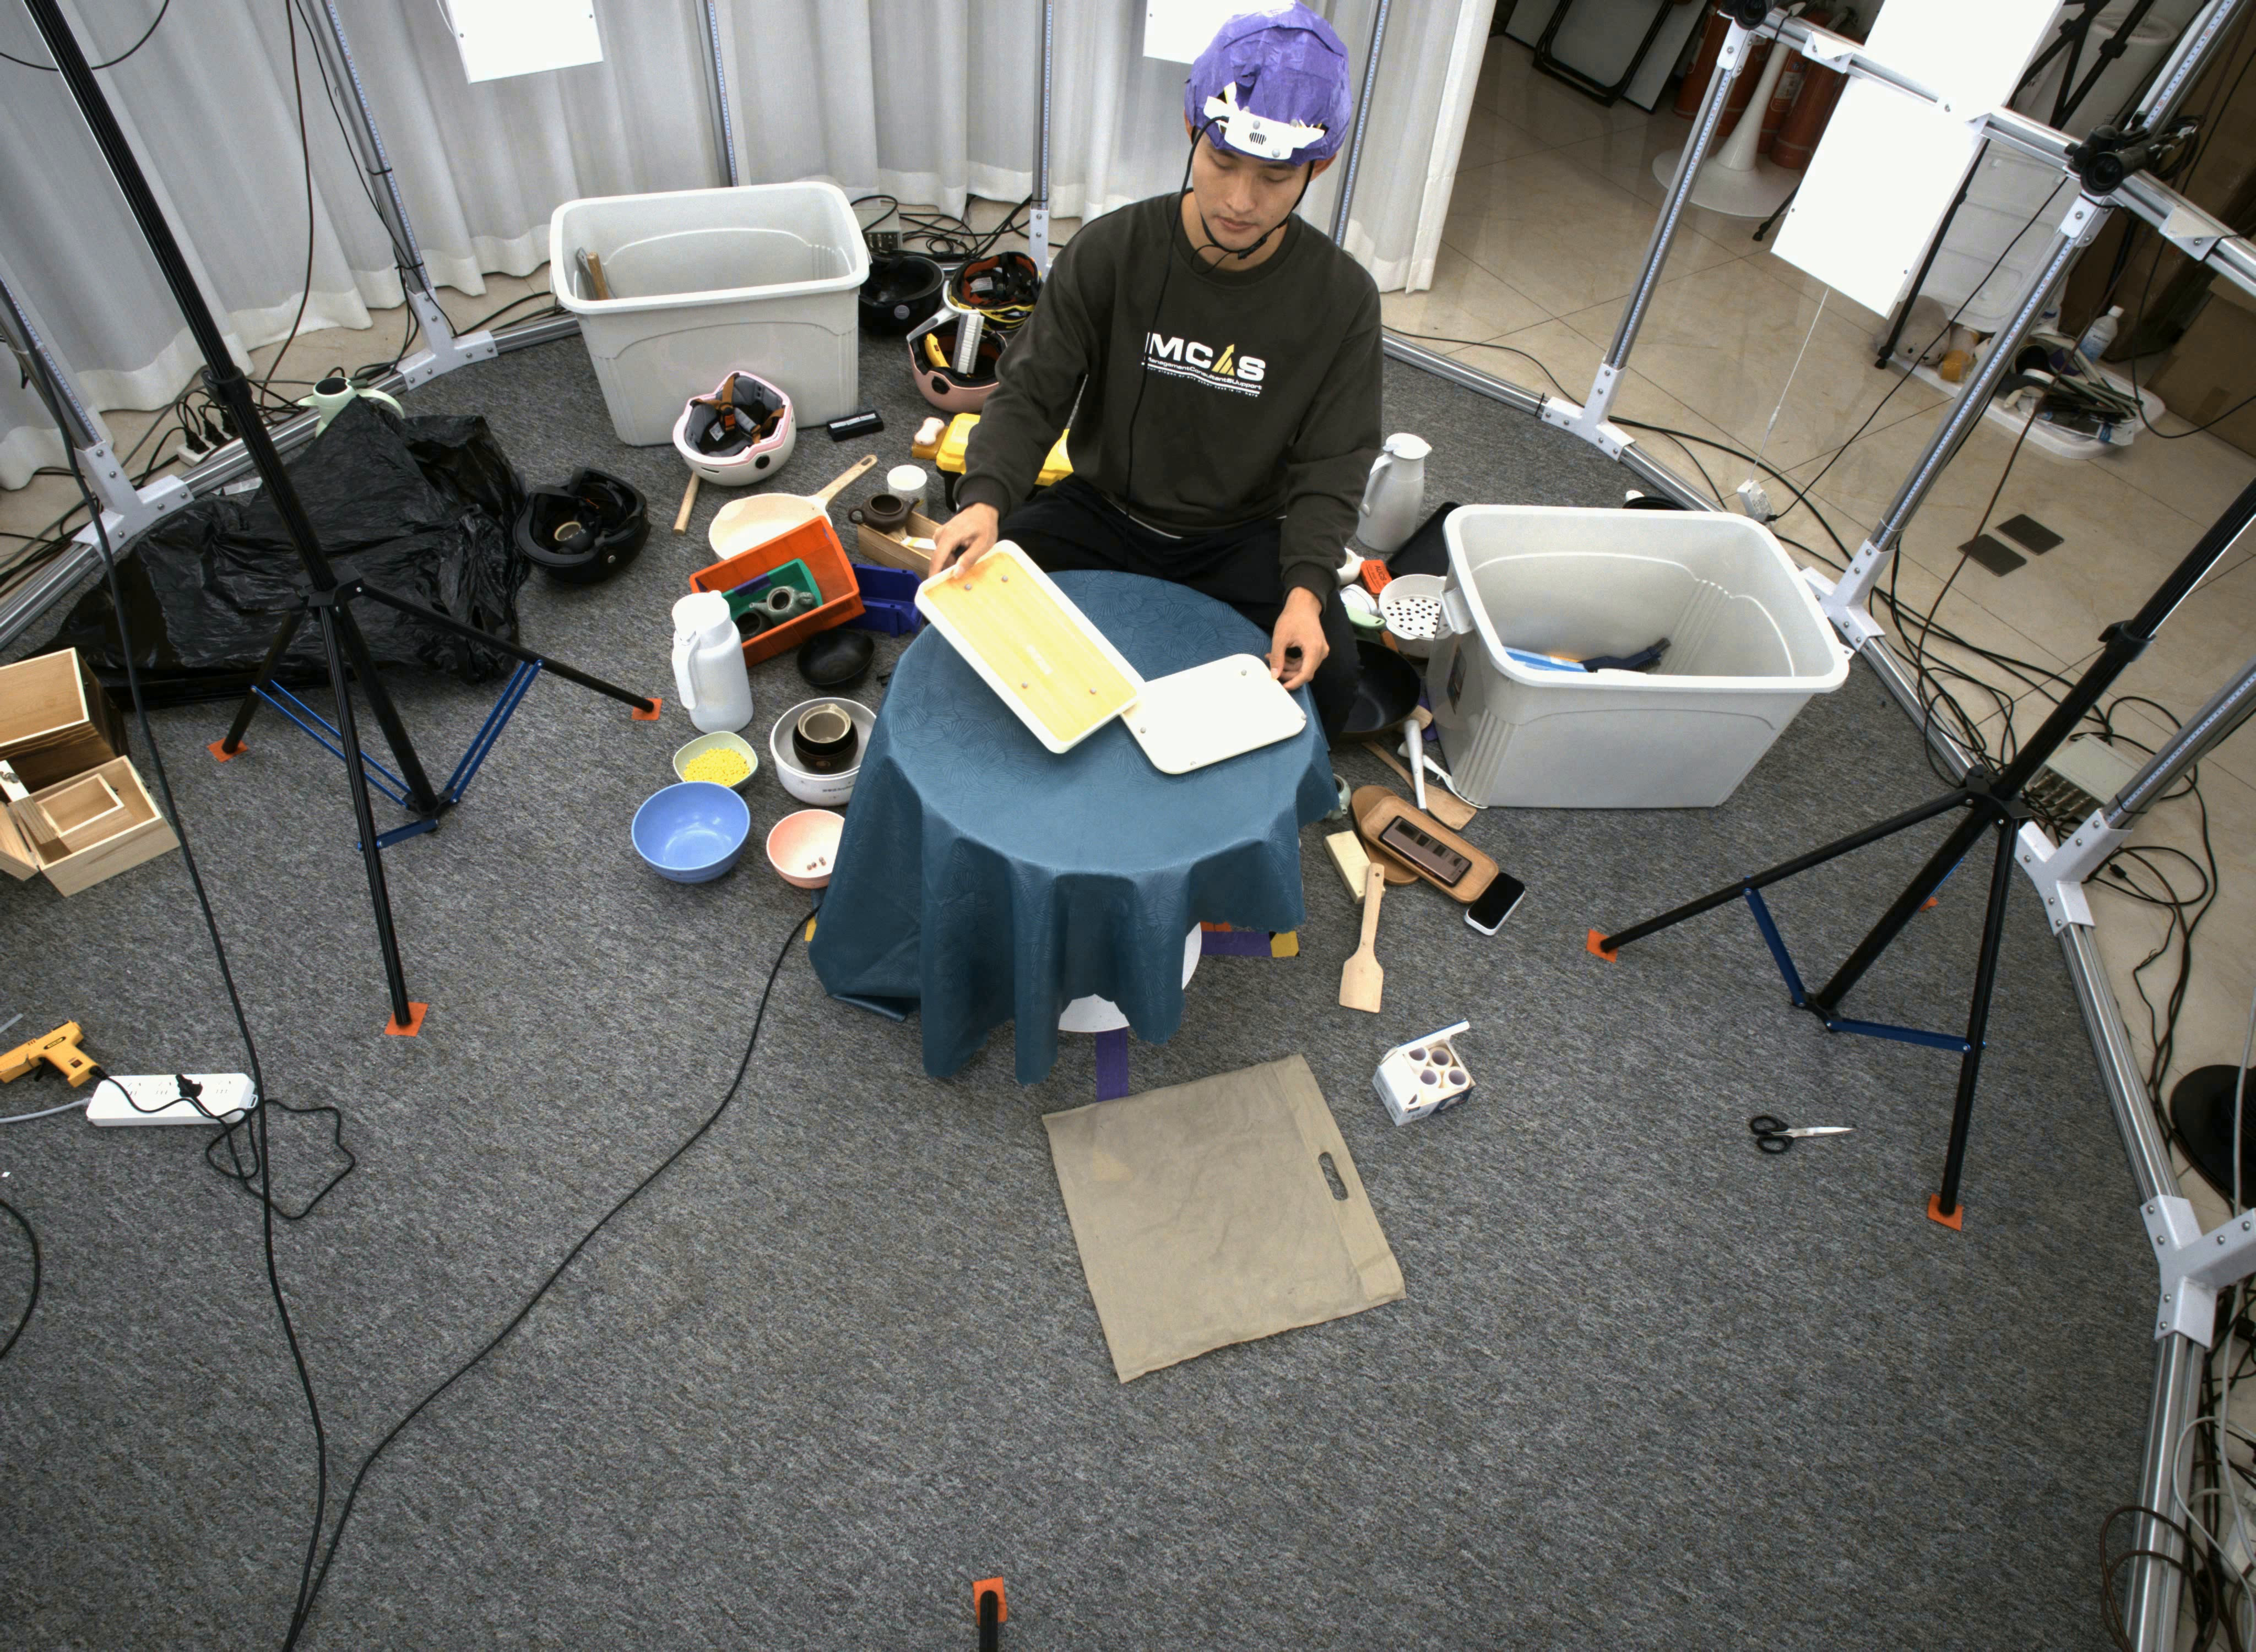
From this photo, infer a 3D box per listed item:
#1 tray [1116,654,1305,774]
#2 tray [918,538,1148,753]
[{"bbox_3d":[0.115,-0.158,1.799,0.240,0.017,0.175,-19,52,-20],"label":"tray"},{"bbox_3d":[-0.127,-0.251,1.762,0.302,0.027,0.193,48,51,7],"label":"tray"}]
